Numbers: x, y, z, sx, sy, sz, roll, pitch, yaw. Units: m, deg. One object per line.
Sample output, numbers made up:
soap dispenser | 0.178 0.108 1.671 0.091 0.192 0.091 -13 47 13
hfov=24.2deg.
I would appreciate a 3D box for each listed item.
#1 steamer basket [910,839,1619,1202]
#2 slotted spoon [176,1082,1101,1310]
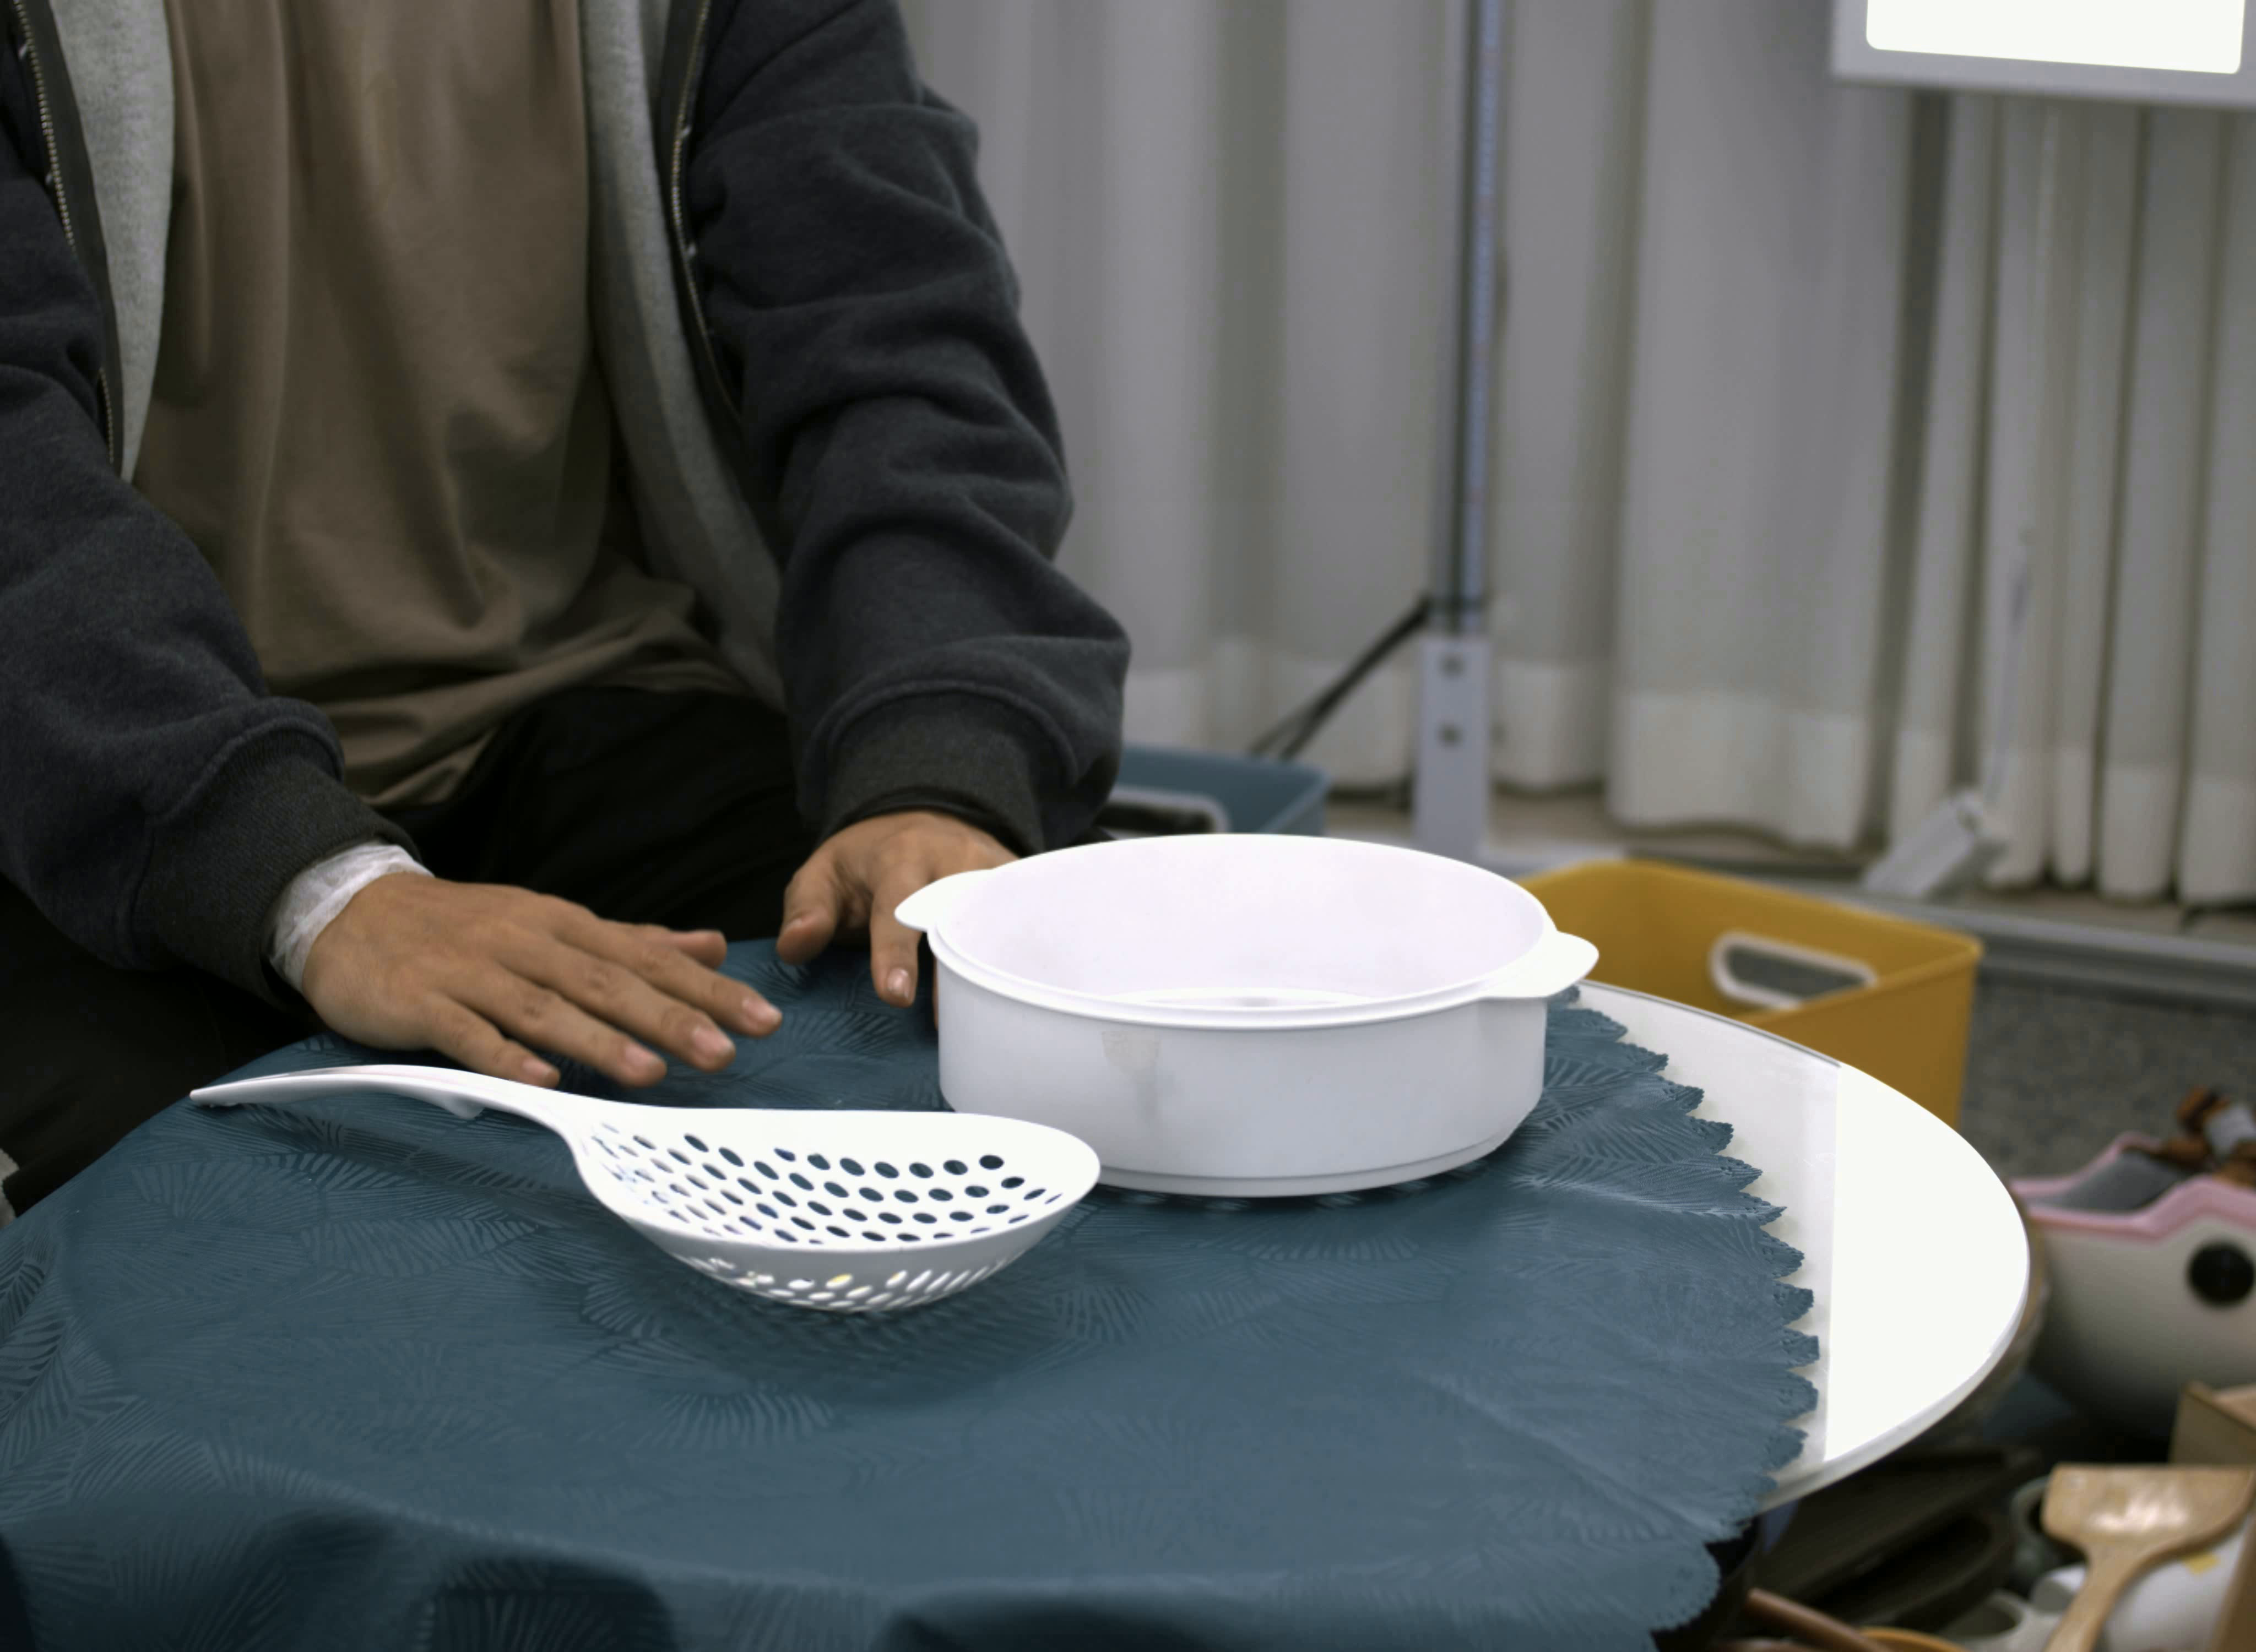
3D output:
steamer basket | 0.041 0.062 1.682 0.228 0.070 0.202 8 17 20
slotted spoon | -0.162 0.099 1.590 0.343 0.051 0.137 12 22 36
